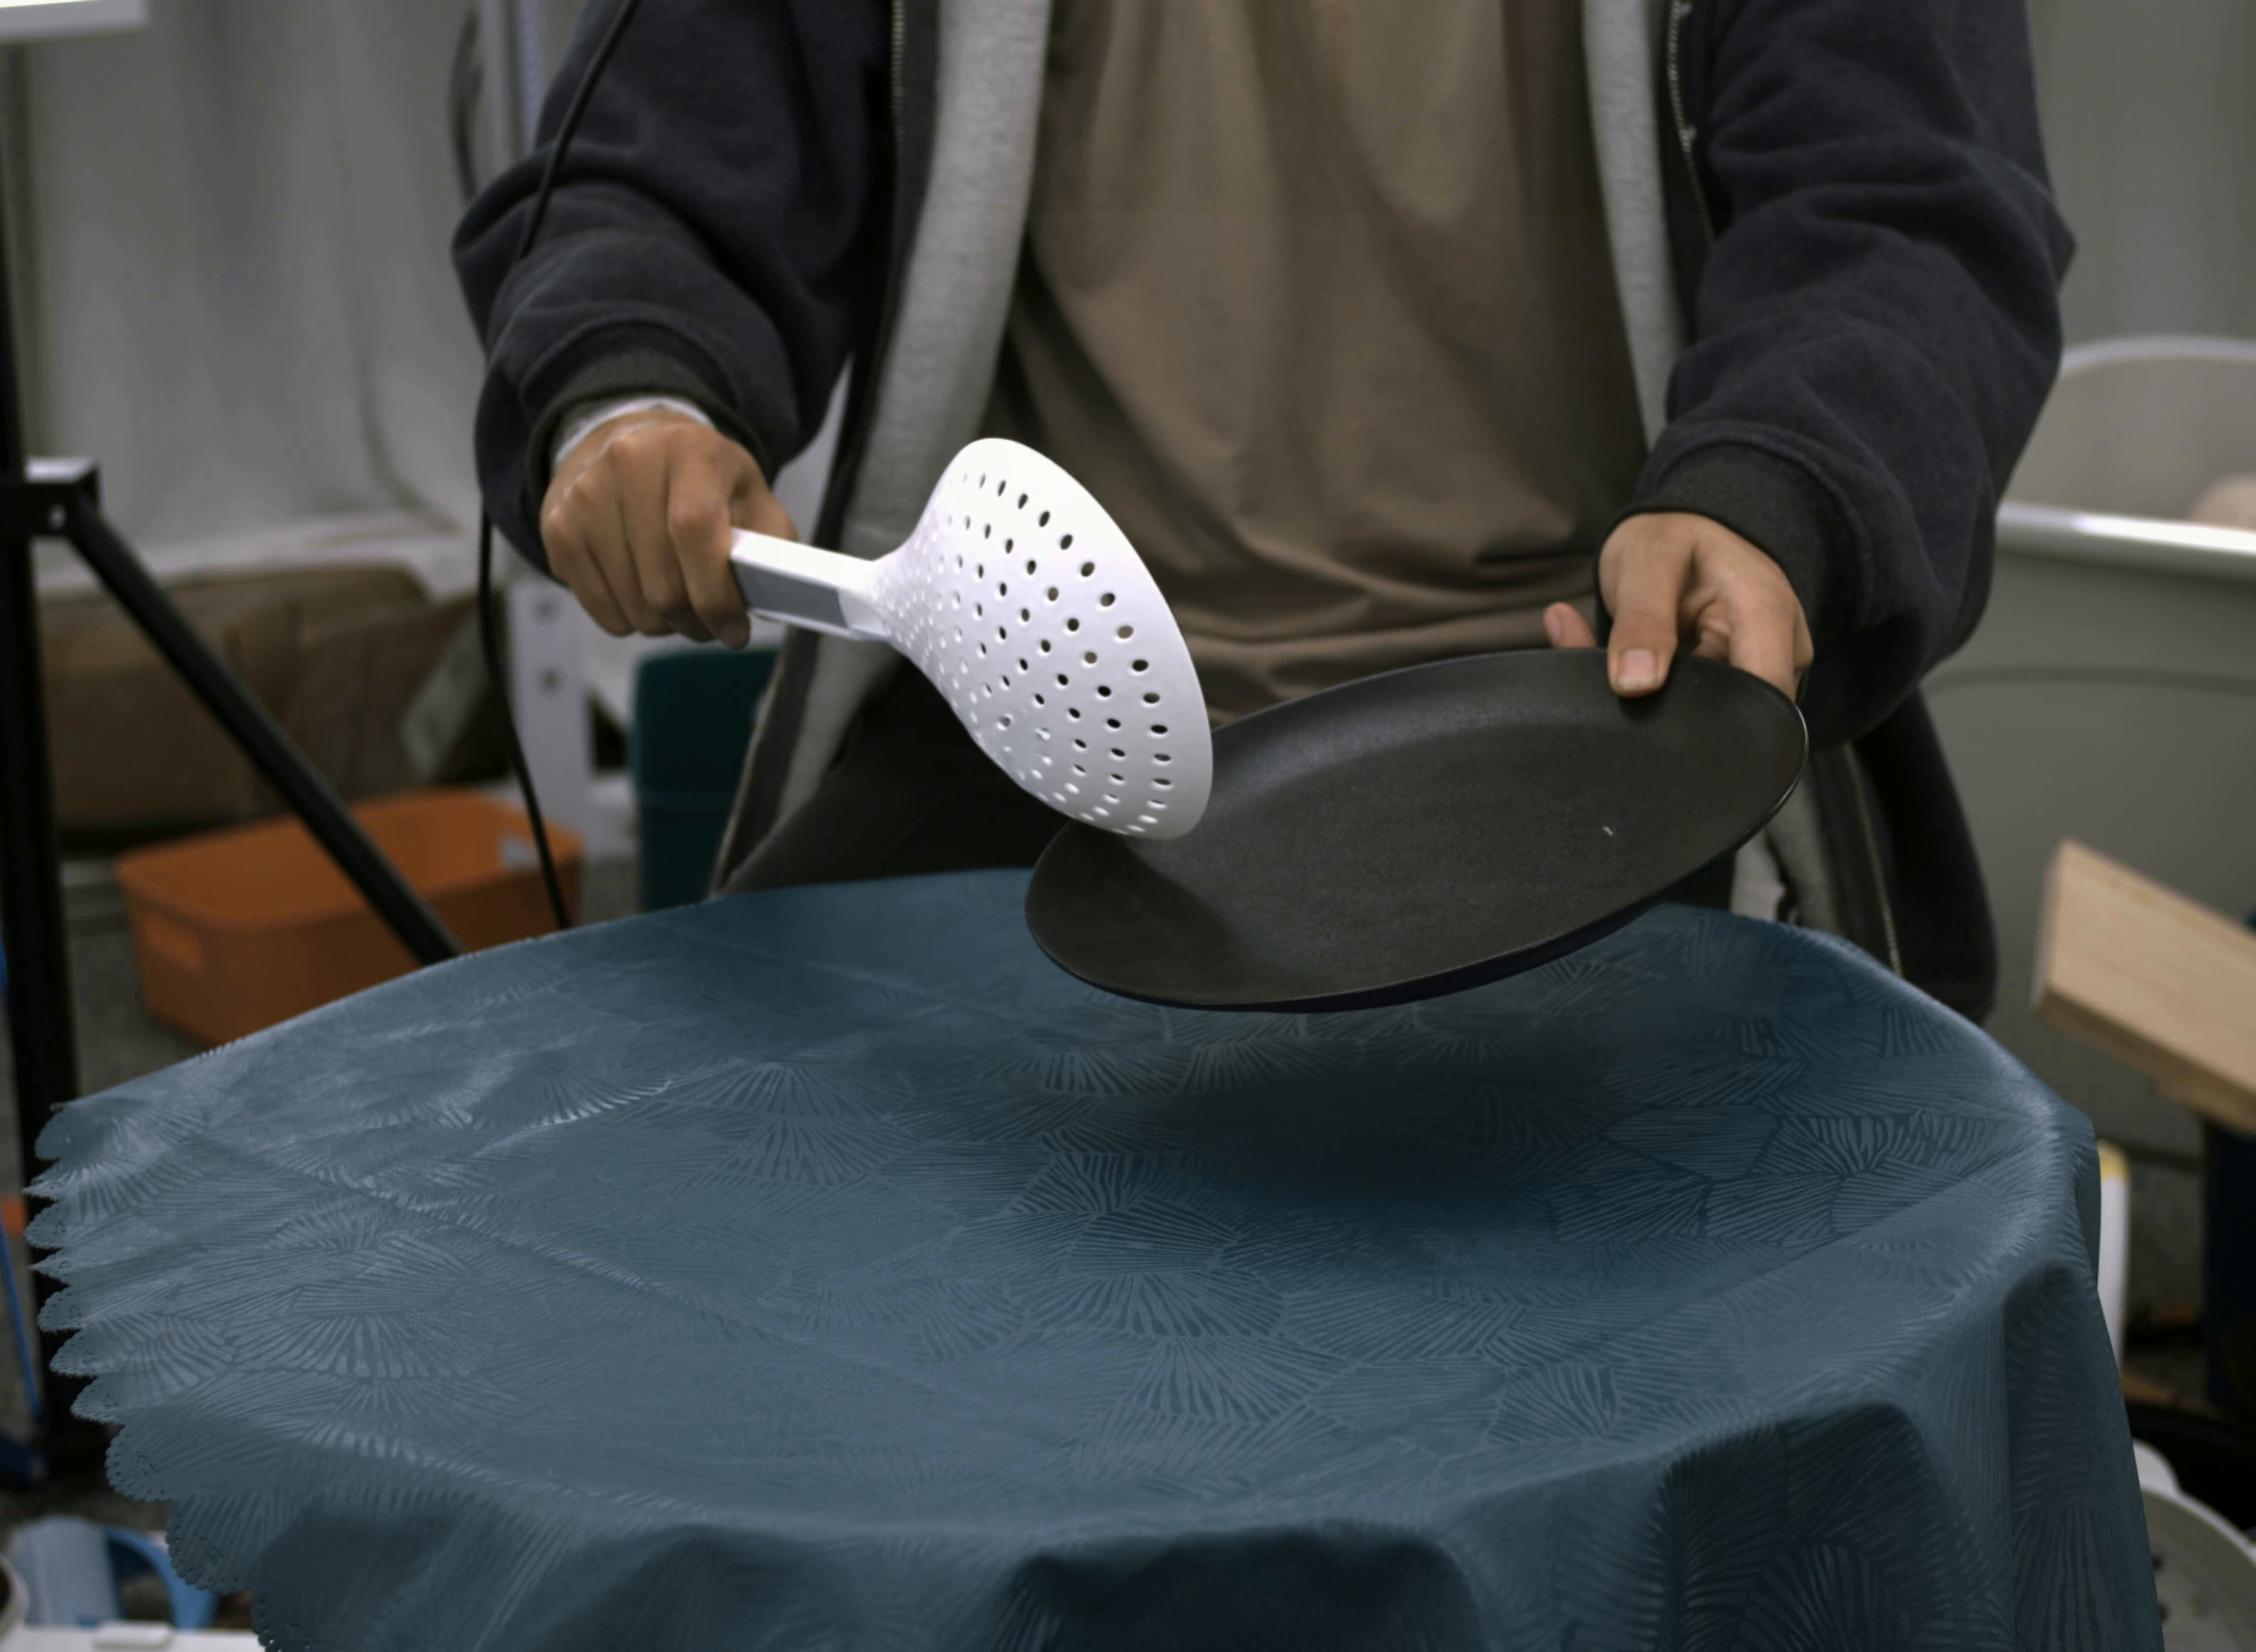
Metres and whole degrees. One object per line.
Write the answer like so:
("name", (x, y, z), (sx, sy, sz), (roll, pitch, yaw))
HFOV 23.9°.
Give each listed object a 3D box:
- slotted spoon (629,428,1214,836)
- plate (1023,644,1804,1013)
("slotted spoon", (-0.077, -0.073, 1.728), (0.045, 0.135, 0.357), (-25, 21, -21))
("plate", (0.088, 0.005, 1.614), (0.244, 0.023, 0.246), (-14, 22, 4))
